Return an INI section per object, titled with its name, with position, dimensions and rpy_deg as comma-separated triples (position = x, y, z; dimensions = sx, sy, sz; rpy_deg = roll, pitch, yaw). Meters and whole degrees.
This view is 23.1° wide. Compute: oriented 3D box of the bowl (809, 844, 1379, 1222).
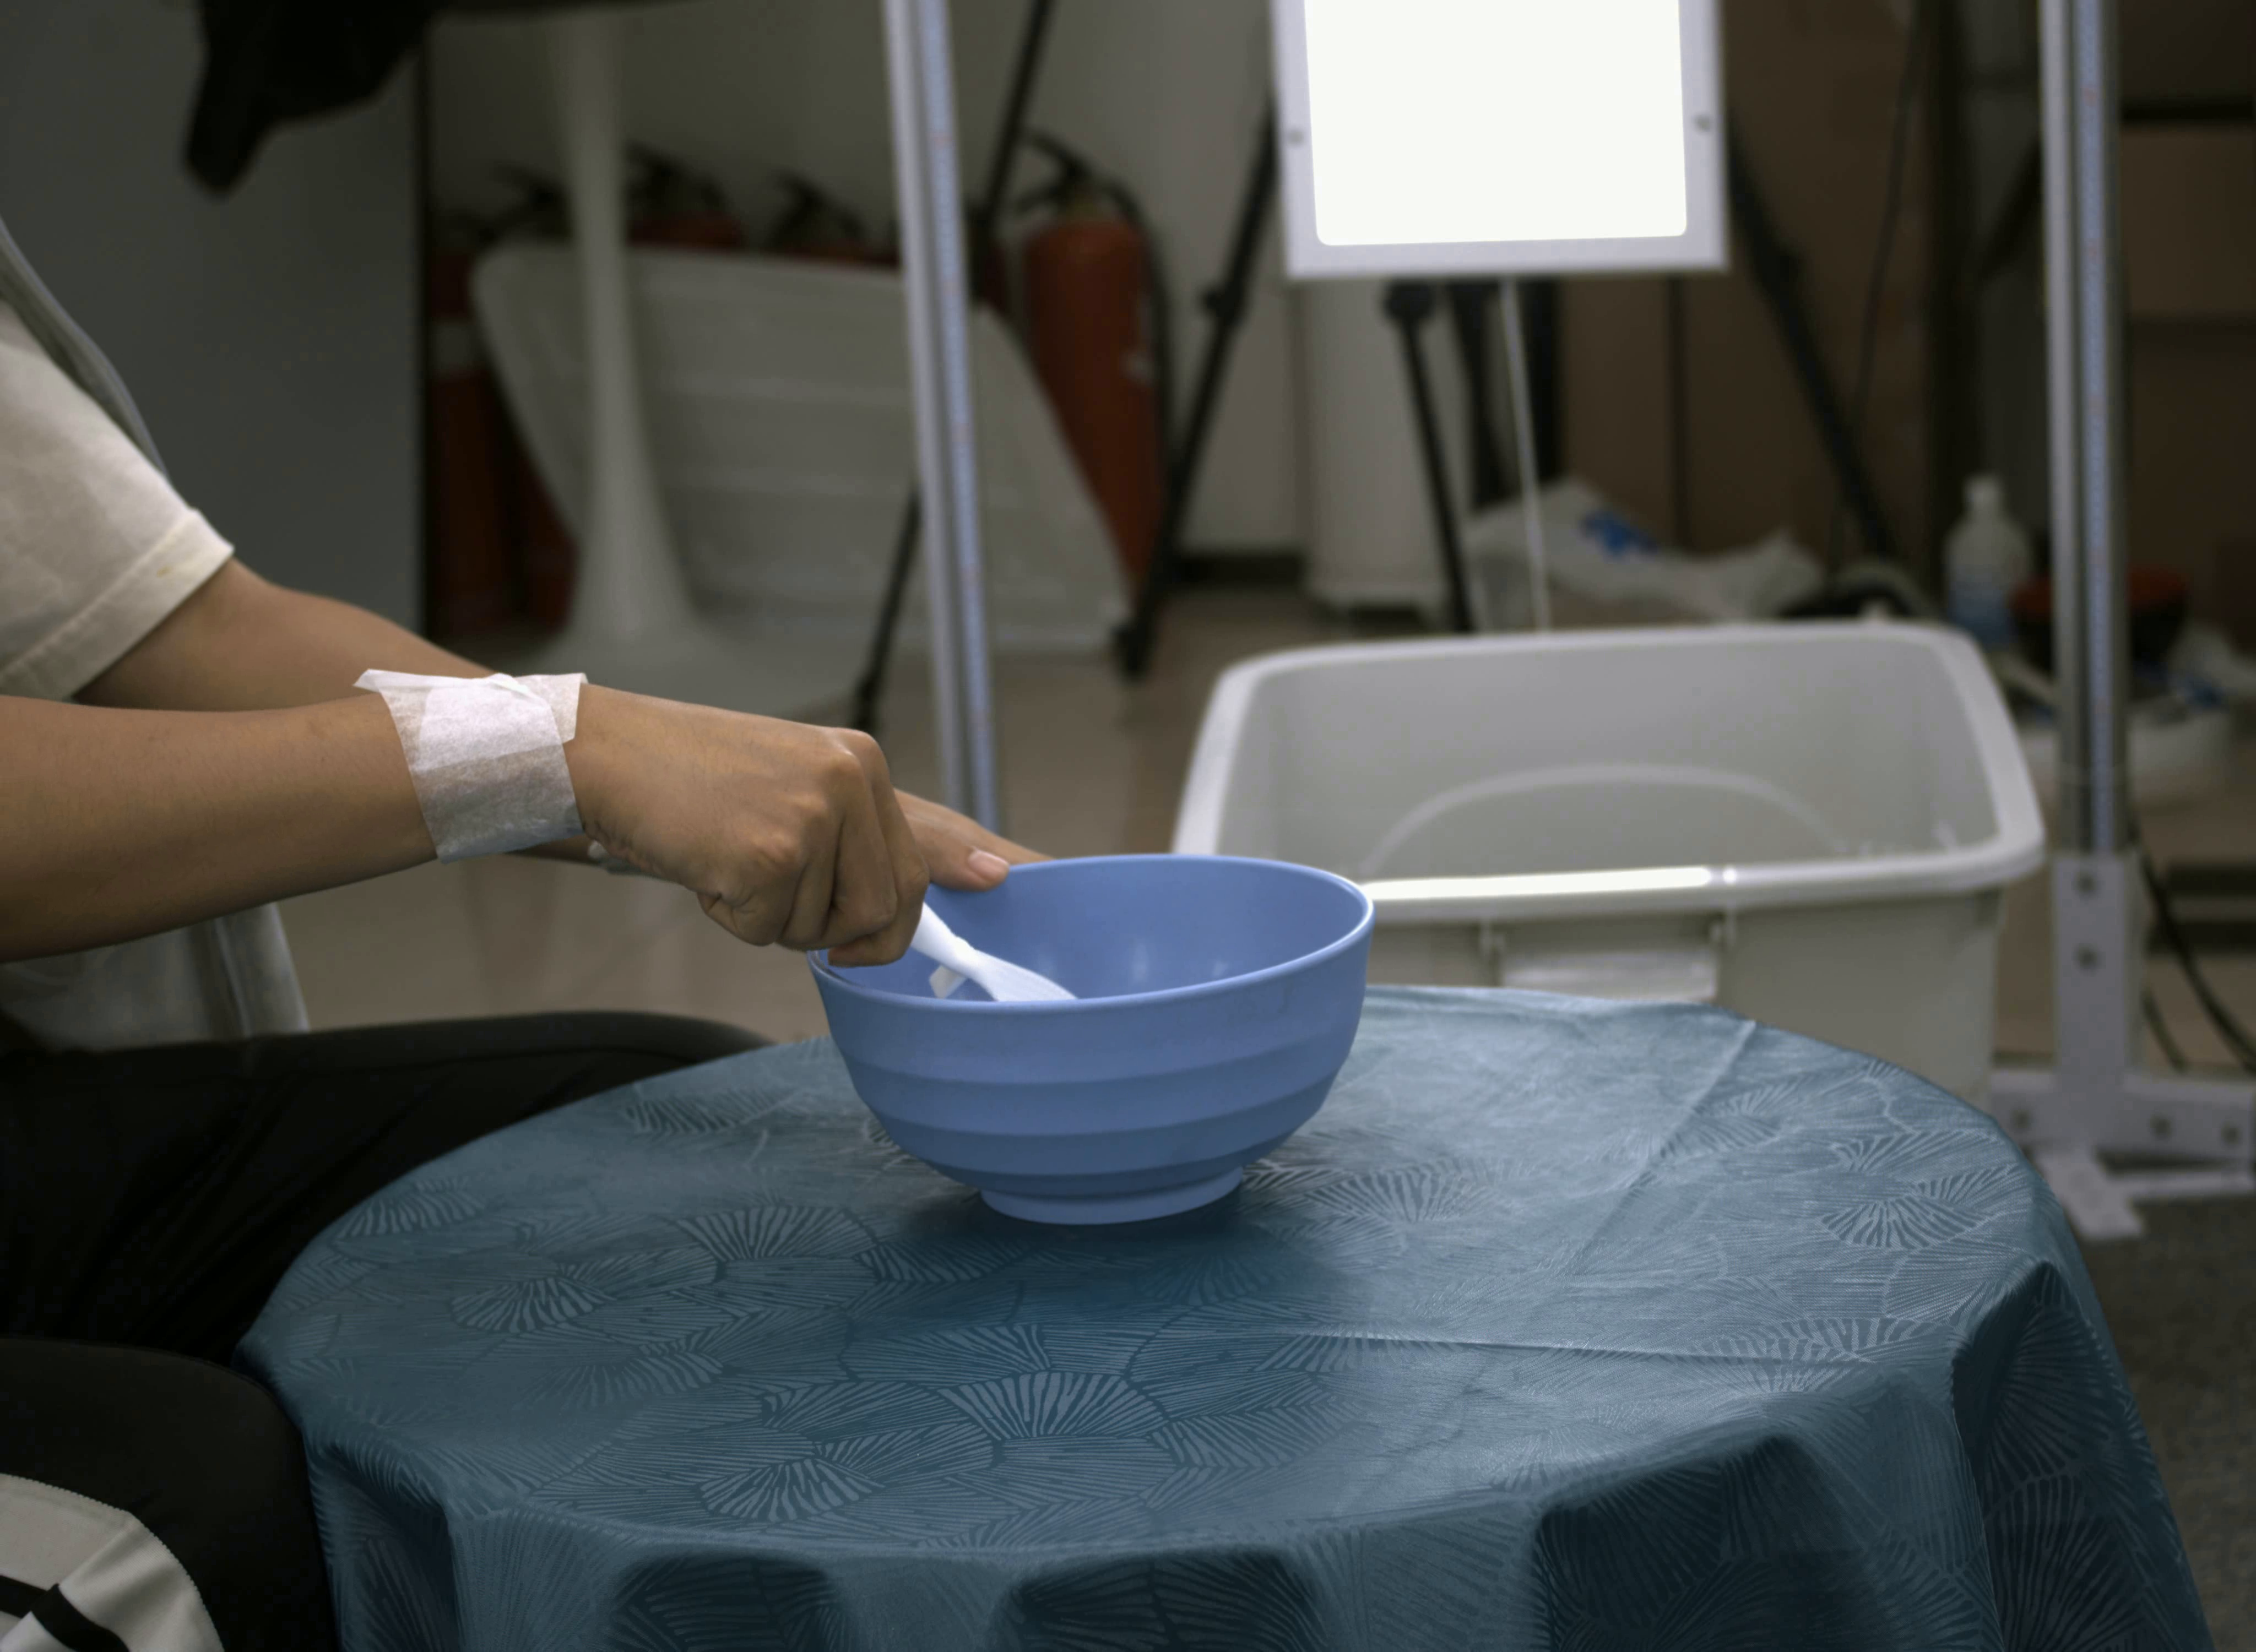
[bowl]
position = -0.010, 0.077, 1.896
dimensions = 0.196, 0.096, 0.196
rpy_deg = -4, 15, 0

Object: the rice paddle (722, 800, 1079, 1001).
[rice paddle]
position = -0.055, 0.049, 1.895
dimensions = 0.201, 0.030, 0.069
rpy_deg = 33, 18, -34
